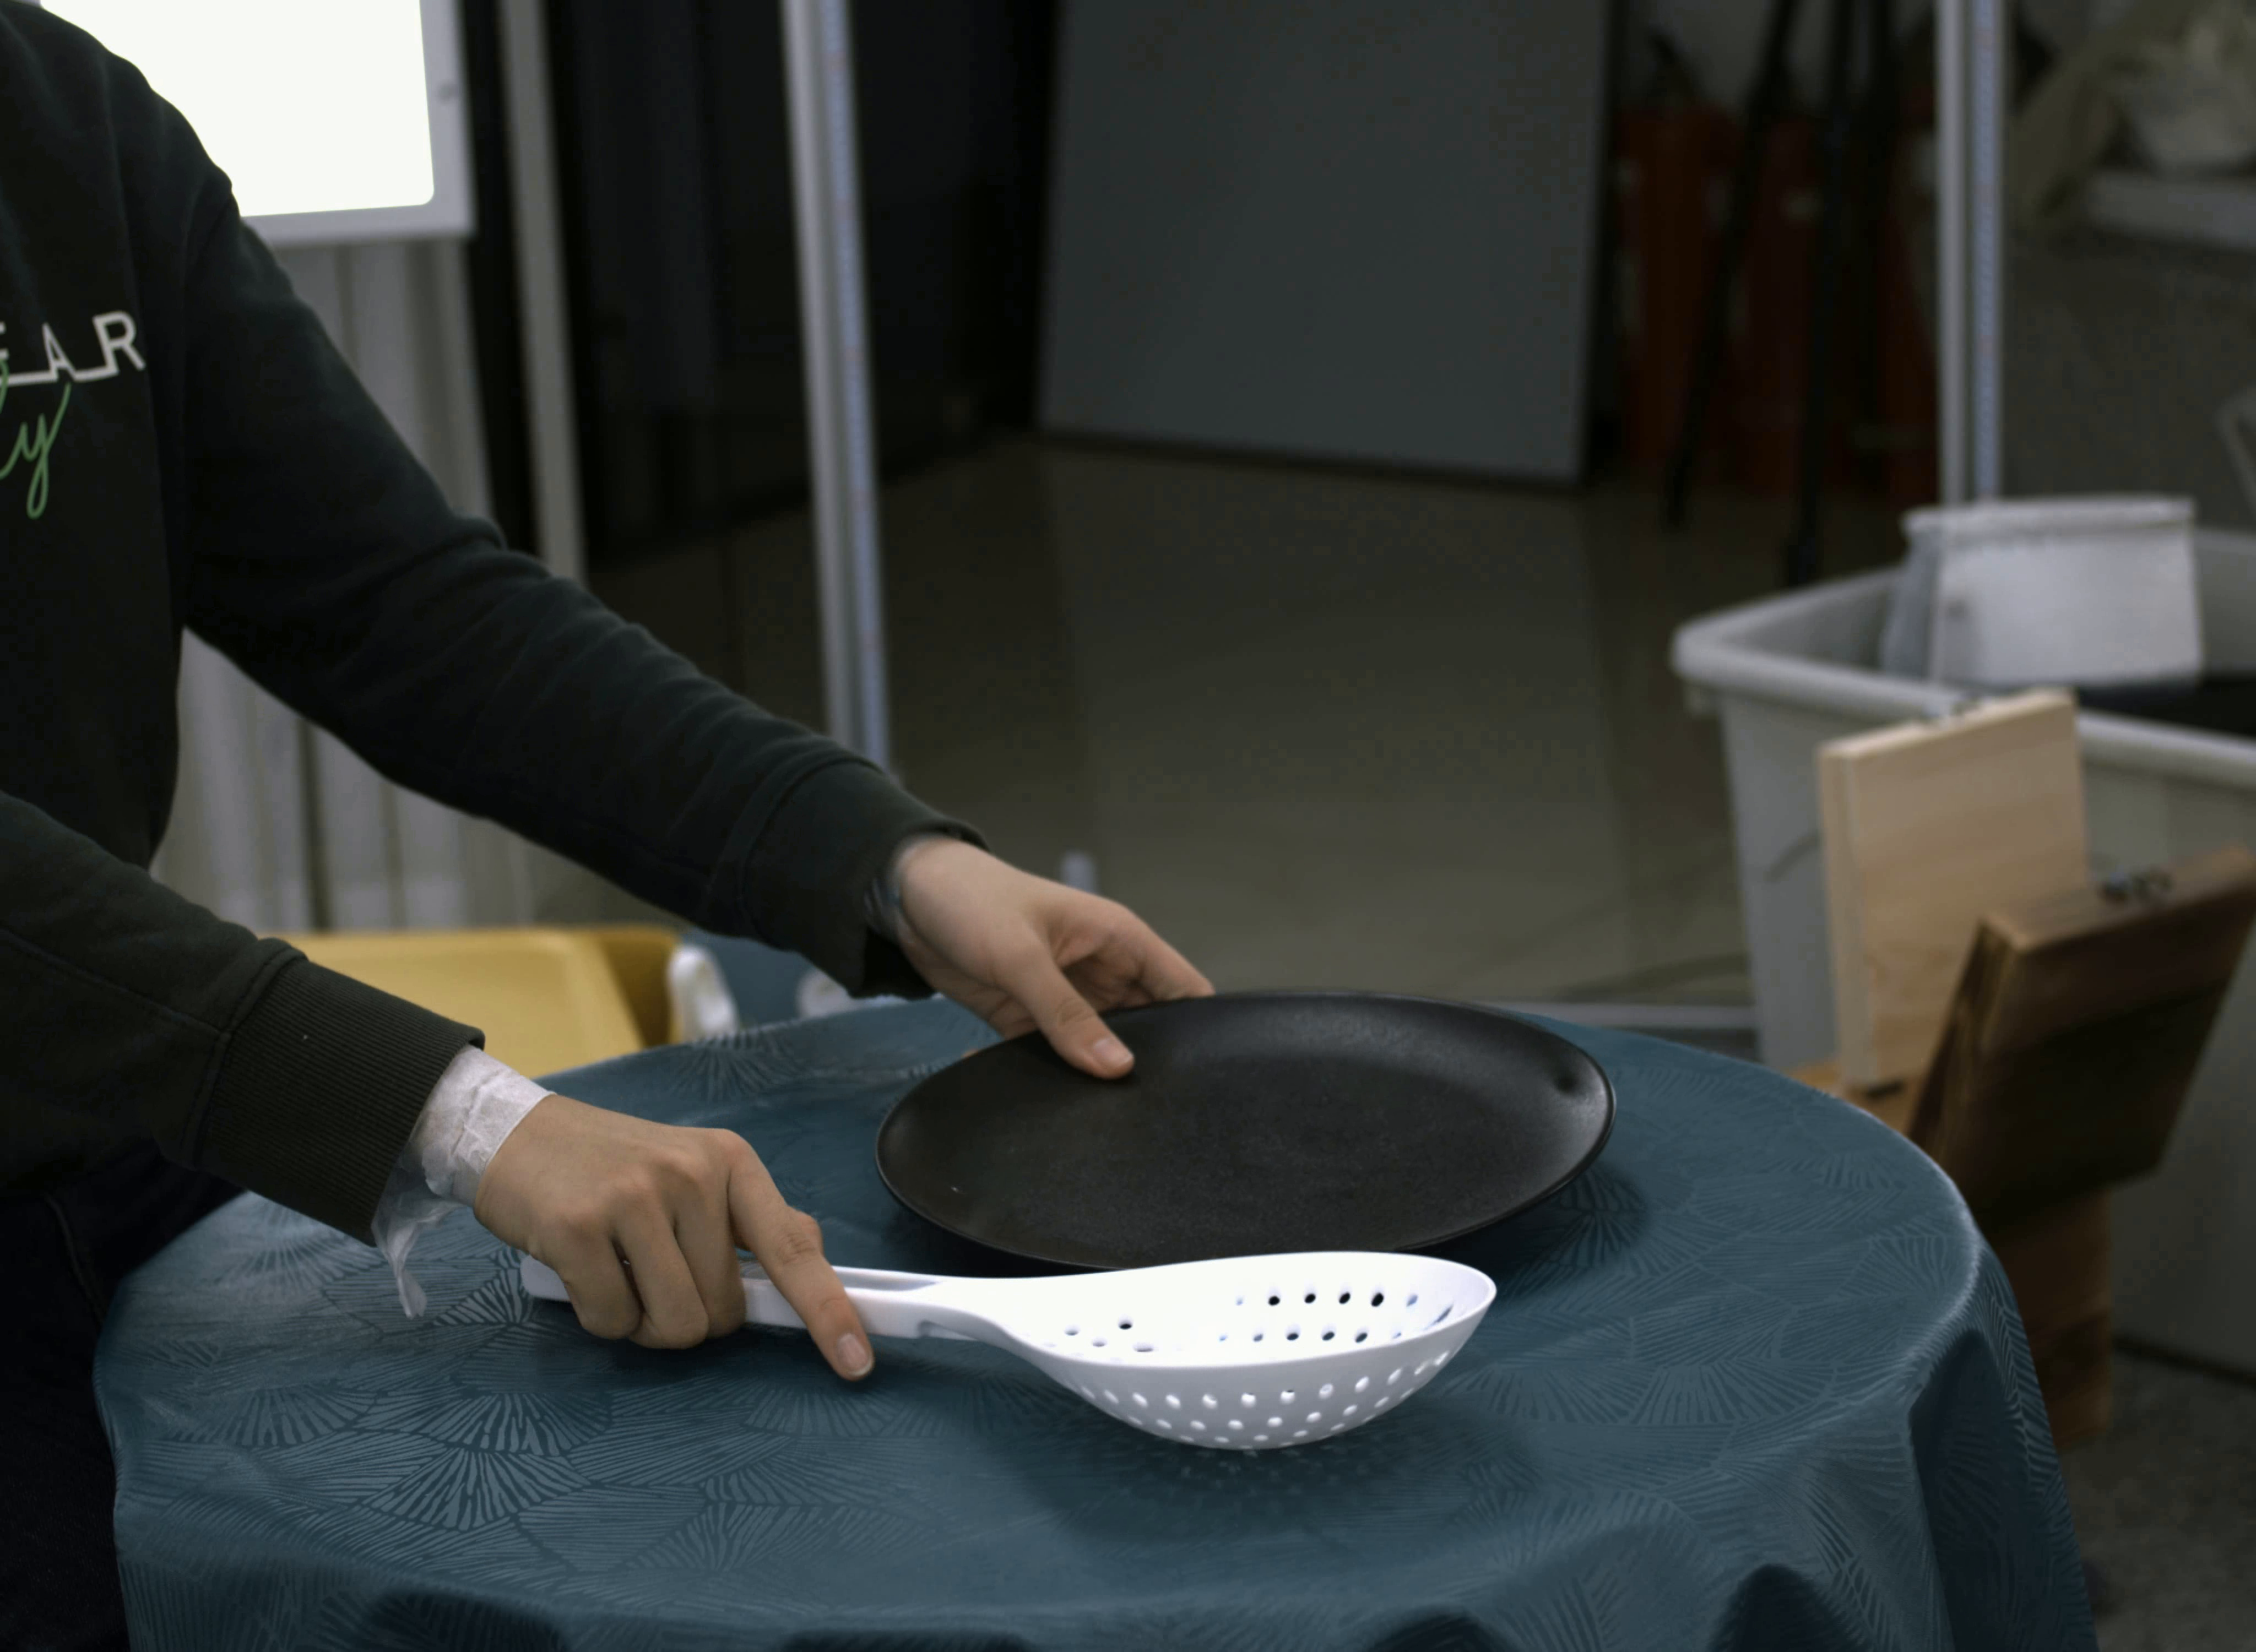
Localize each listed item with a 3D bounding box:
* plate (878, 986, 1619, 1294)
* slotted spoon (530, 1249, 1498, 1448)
[{"bbox_3d":[0.040,0.105,1.745,0.241,0.023,0.245,-5,19,1],"label":"plate"},{"bbox_3d":[-0.046,0.143,1.600,0.352,0.046,0.133,6,11,38],"label":"slotted spoon"}]
